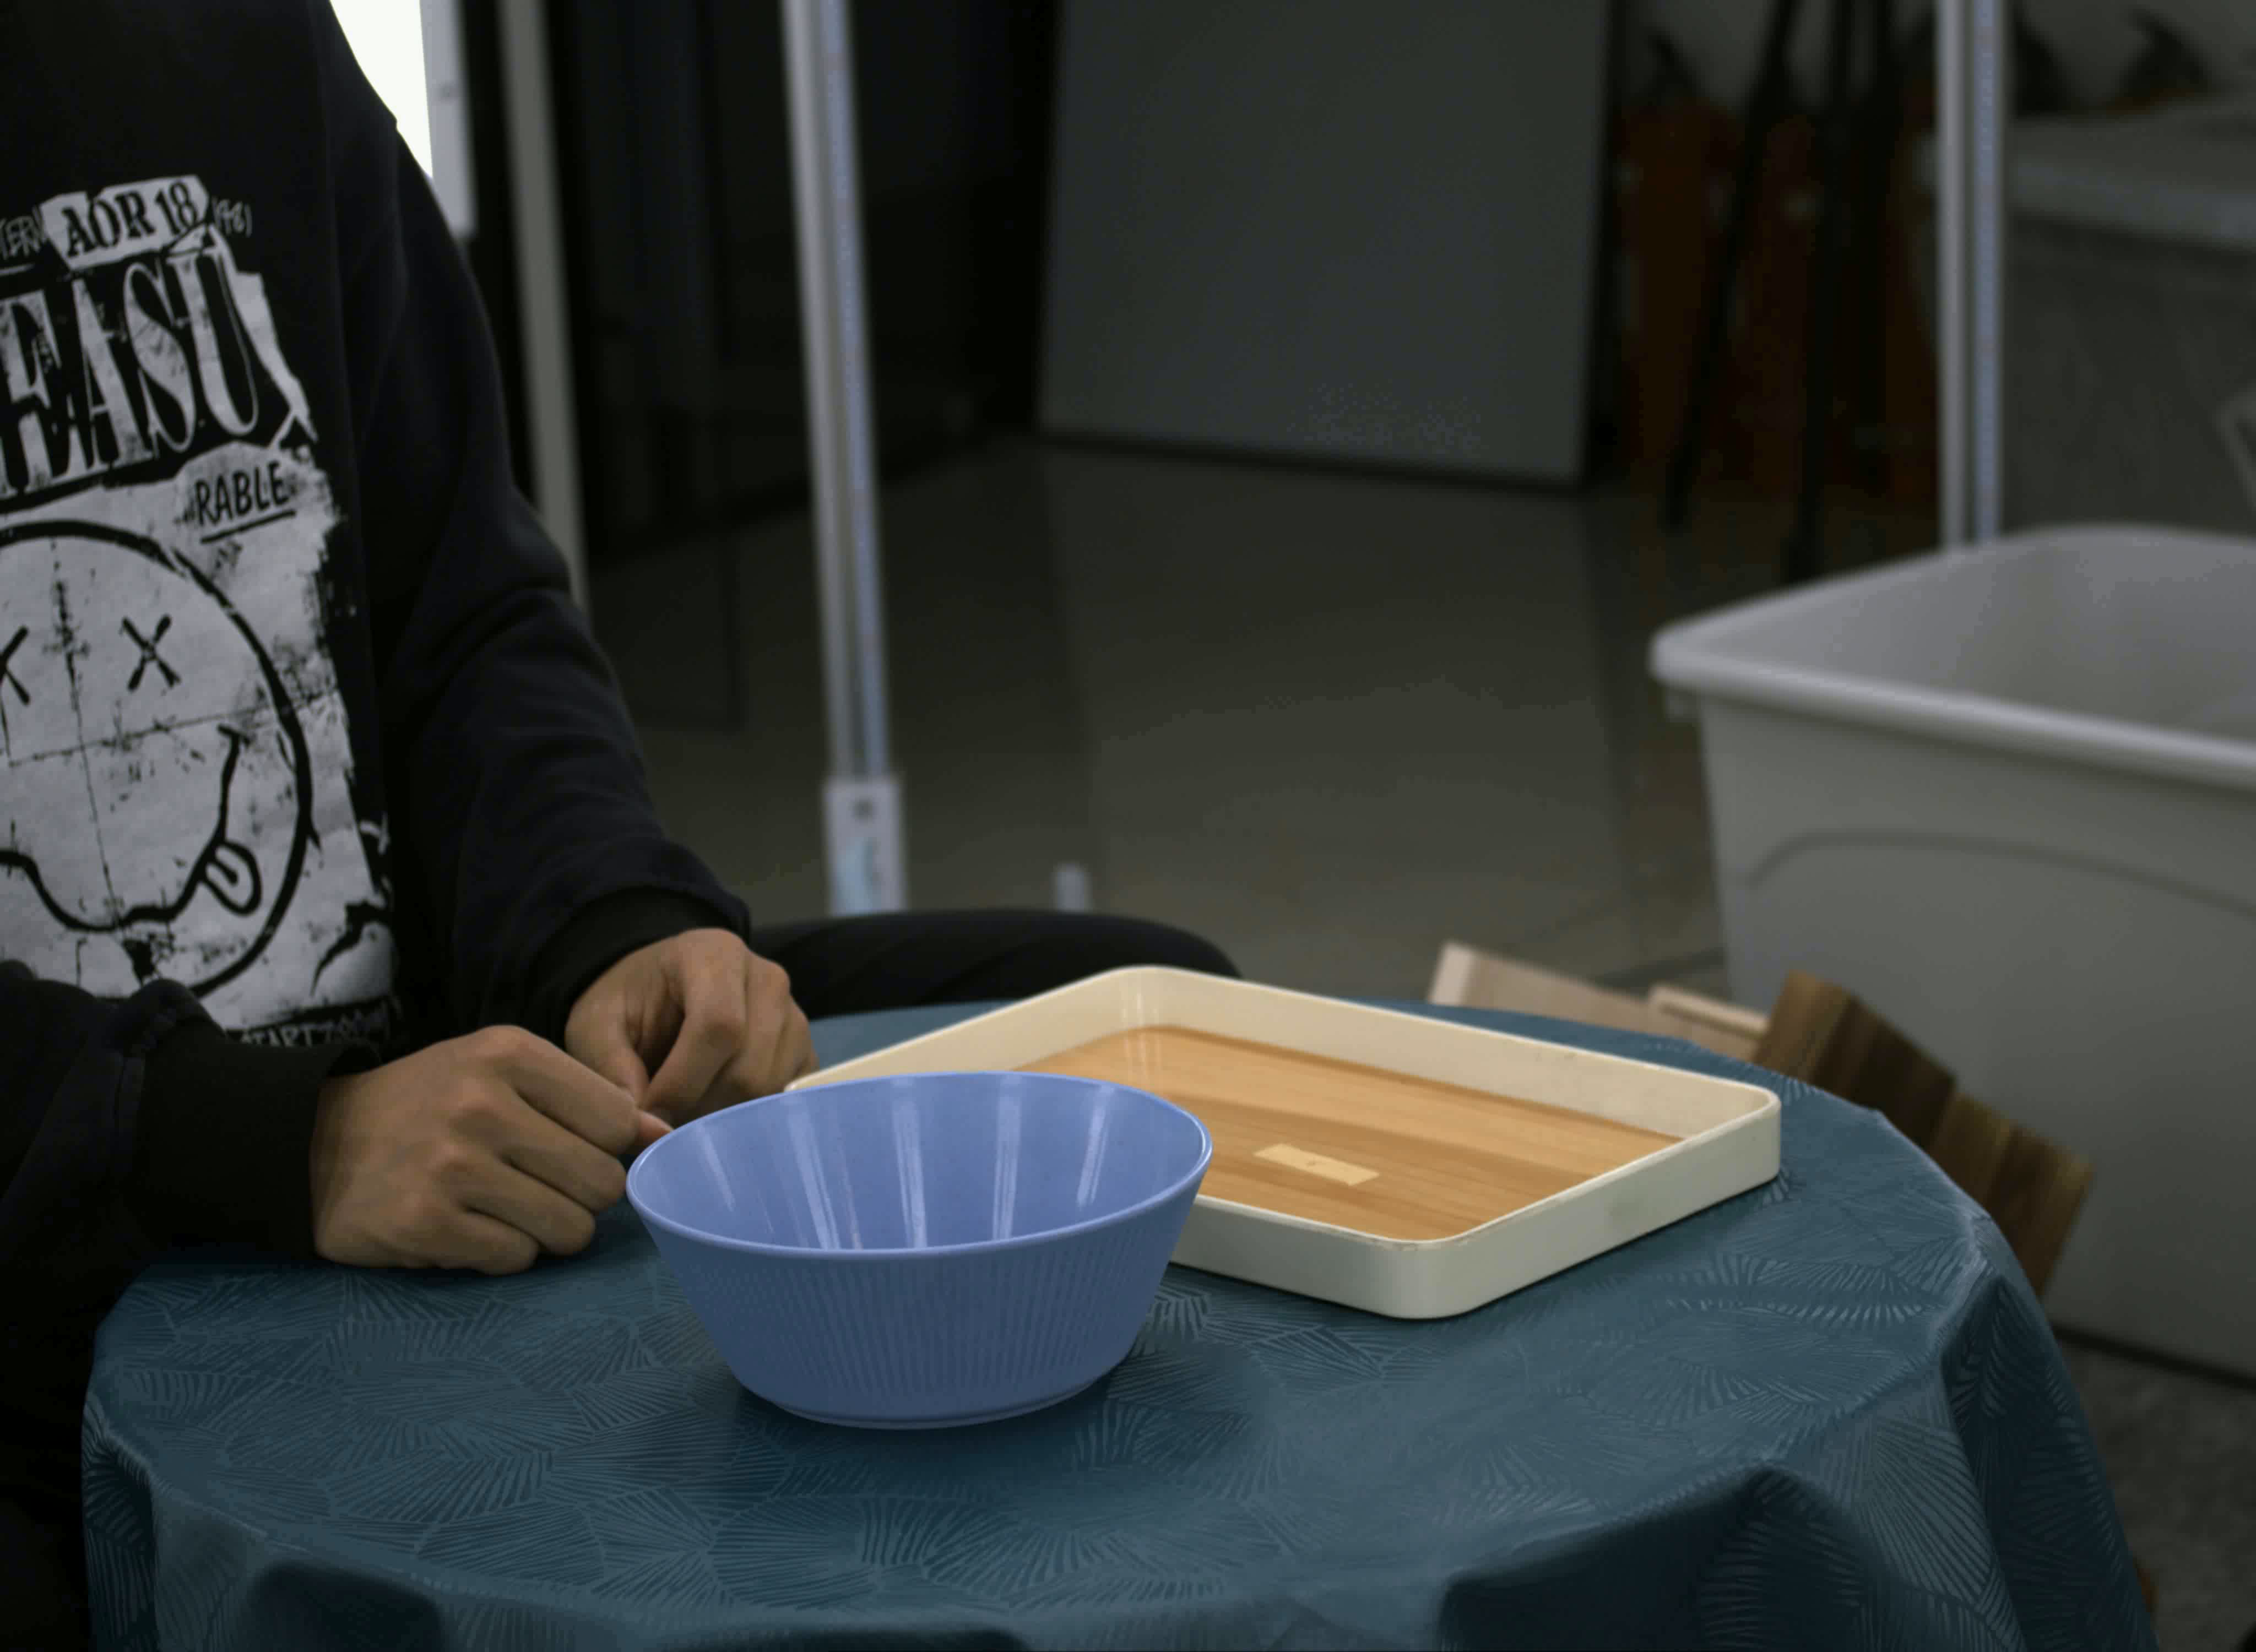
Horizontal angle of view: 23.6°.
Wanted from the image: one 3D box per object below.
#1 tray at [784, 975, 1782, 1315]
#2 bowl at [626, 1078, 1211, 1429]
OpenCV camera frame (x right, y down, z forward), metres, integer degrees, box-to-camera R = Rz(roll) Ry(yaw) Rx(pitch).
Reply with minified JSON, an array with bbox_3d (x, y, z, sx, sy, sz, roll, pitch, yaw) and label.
[{"bbox_3d":[0.048,0.102,1.781,0.303,0.028,0.187,9,19,44],"label":"tray"},{"bbox_3d":[-0.061,0.129,1.607,0.174,0.071,0.176,-3,13,0],"label":"bowl"}]
